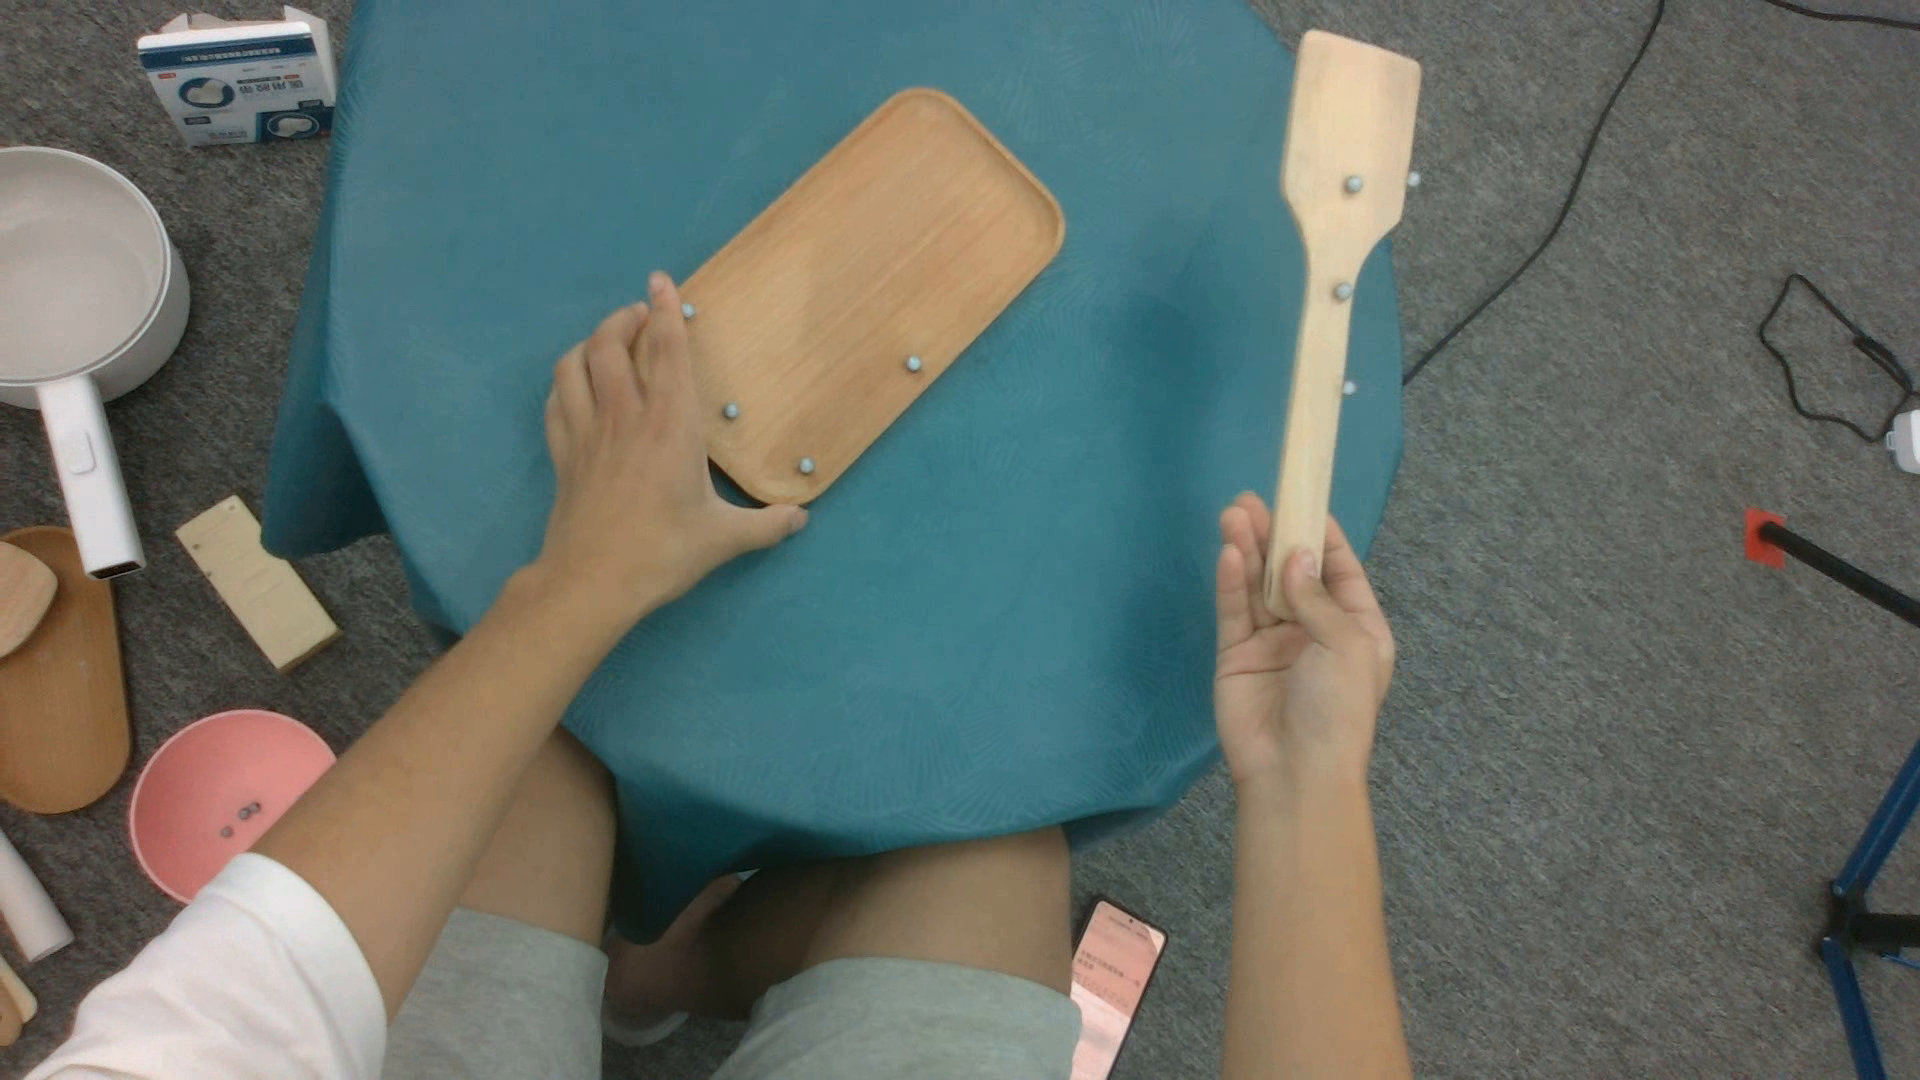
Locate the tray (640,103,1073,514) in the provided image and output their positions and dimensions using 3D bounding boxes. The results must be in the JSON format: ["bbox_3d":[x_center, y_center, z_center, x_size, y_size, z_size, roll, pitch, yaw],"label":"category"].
[{"bbox_3d":[-0.052,-0.132,0.760,0.130,0.023,0.251,45,70,-3],"label":"tray"}]

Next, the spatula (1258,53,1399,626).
[{"bbox_3d":[0.180,-0.102,0.702,0.072,0.010,0.293,9,84,-17],"label":"spatula"}]
